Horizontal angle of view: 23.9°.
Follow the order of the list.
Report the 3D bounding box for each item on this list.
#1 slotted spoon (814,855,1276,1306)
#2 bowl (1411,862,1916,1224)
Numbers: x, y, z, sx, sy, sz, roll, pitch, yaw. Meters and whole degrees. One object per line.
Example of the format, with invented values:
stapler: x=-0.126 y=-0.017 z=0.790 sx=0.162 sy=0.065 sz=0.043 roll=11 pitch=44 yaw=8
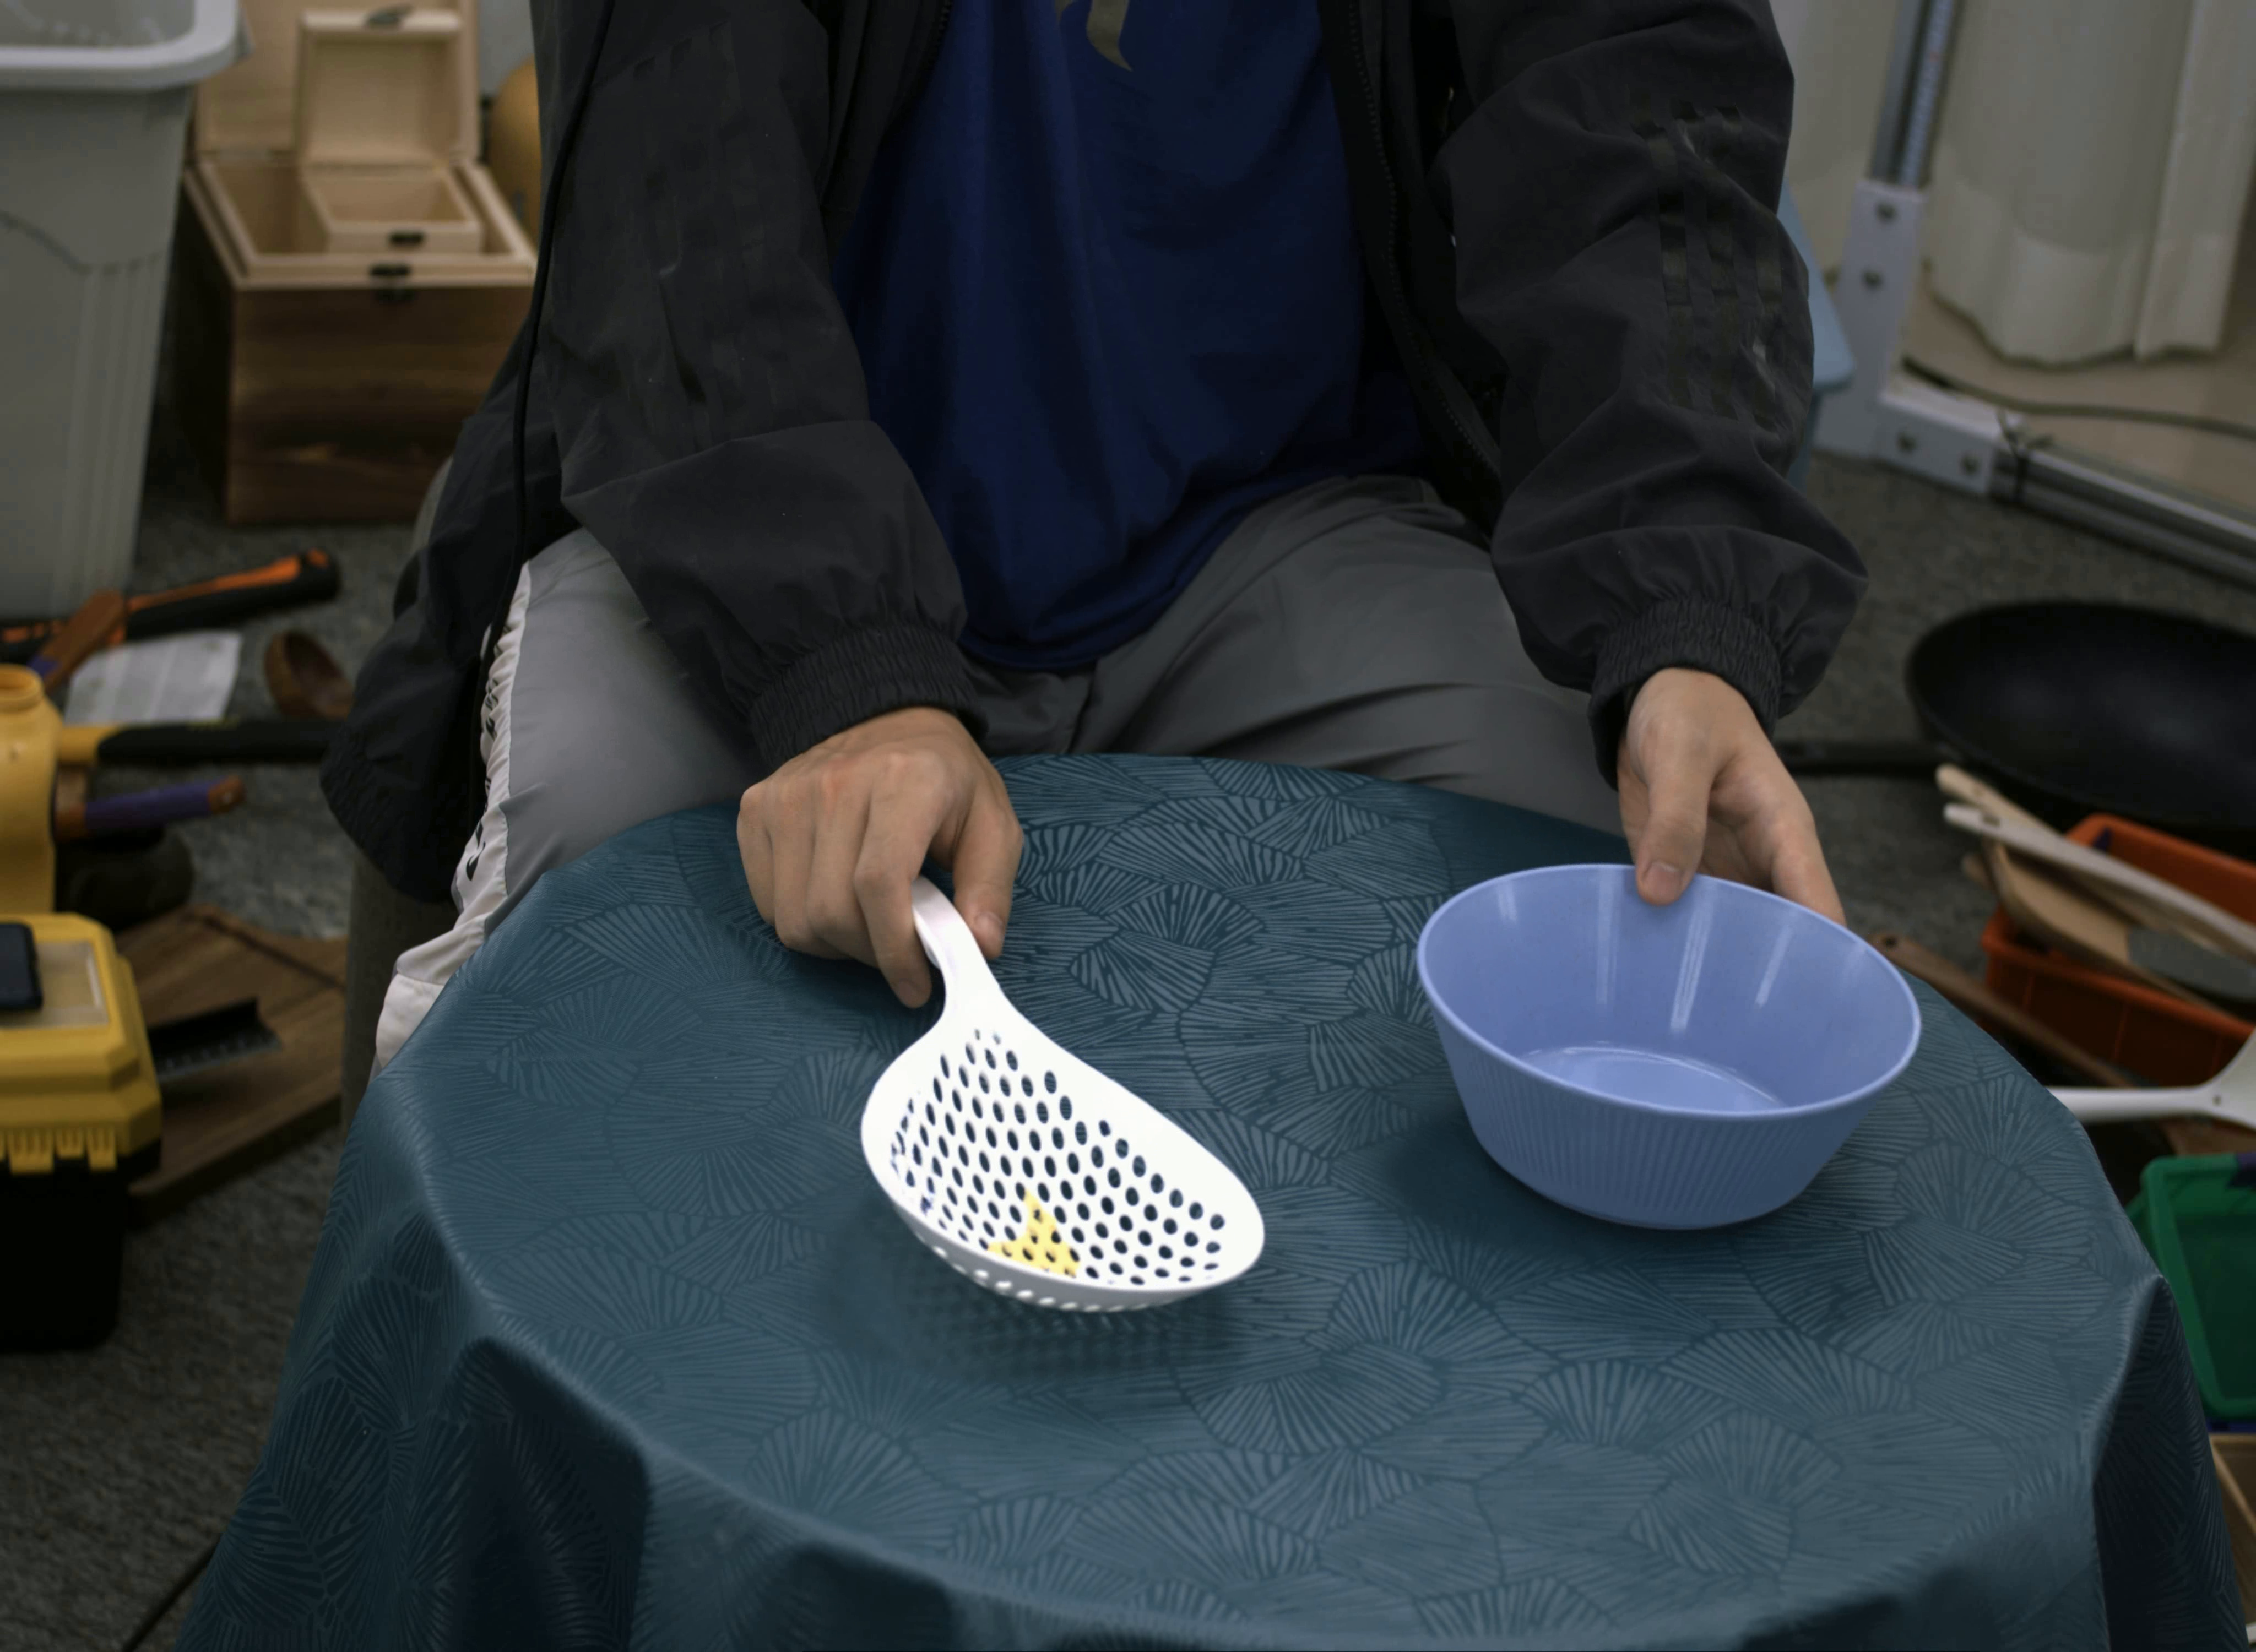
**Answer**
slotted spoon: x=-0.053 y=0.076 z=1.830 sx=0.136 sy=0.050 sz=0.351 roll=4 pitch=27 yaw=-19
bowl: x=0.181 y=0.081 z=1.848 sx=0.175 sy=0.070 sz=0.177 roll=6 pitch=27 yaw=-3
